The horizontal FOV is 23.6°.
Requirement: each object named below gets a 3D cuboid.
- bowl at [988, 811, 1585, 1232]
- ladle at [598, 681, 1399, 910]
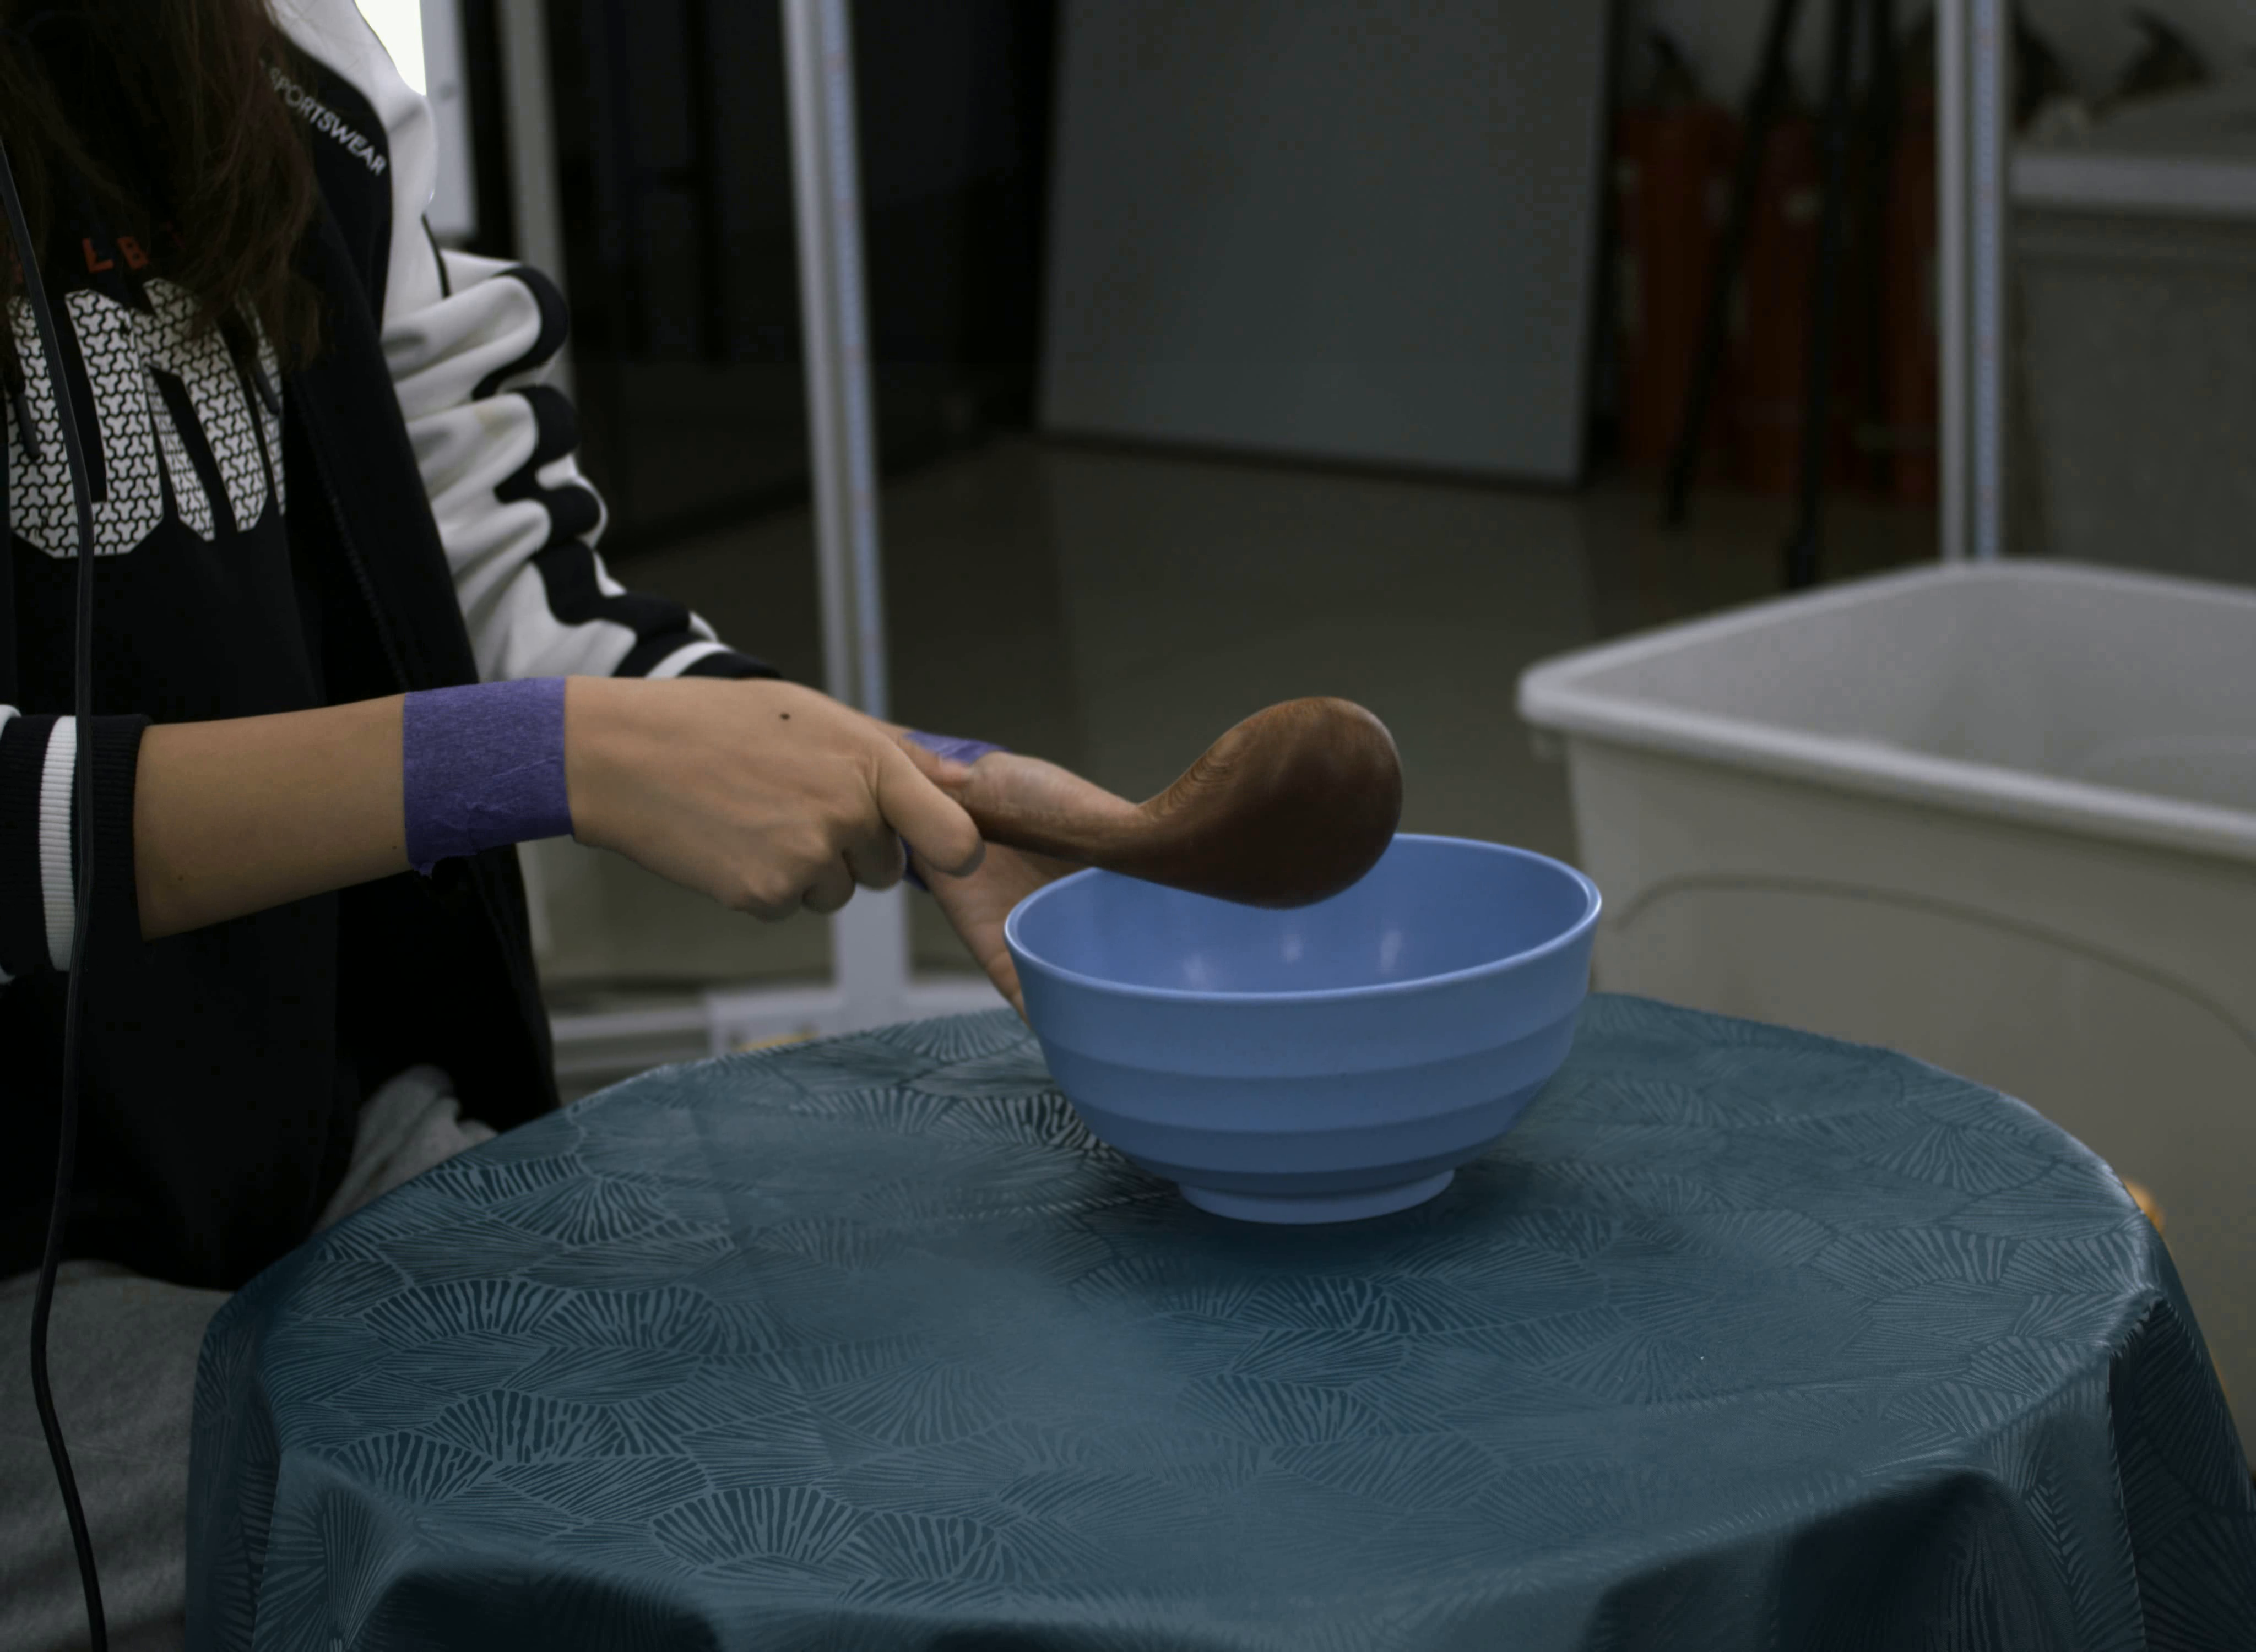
[{"bbox_3d":[0.054,0.071,1.763,0.194,0.096,0.197,-4,20,1],"label":"bowl"},{"bbox_3d":[-0.041,-0.012,1.718,0.260,0.077,0.065,3,33,20],"label":"ladle"}]
